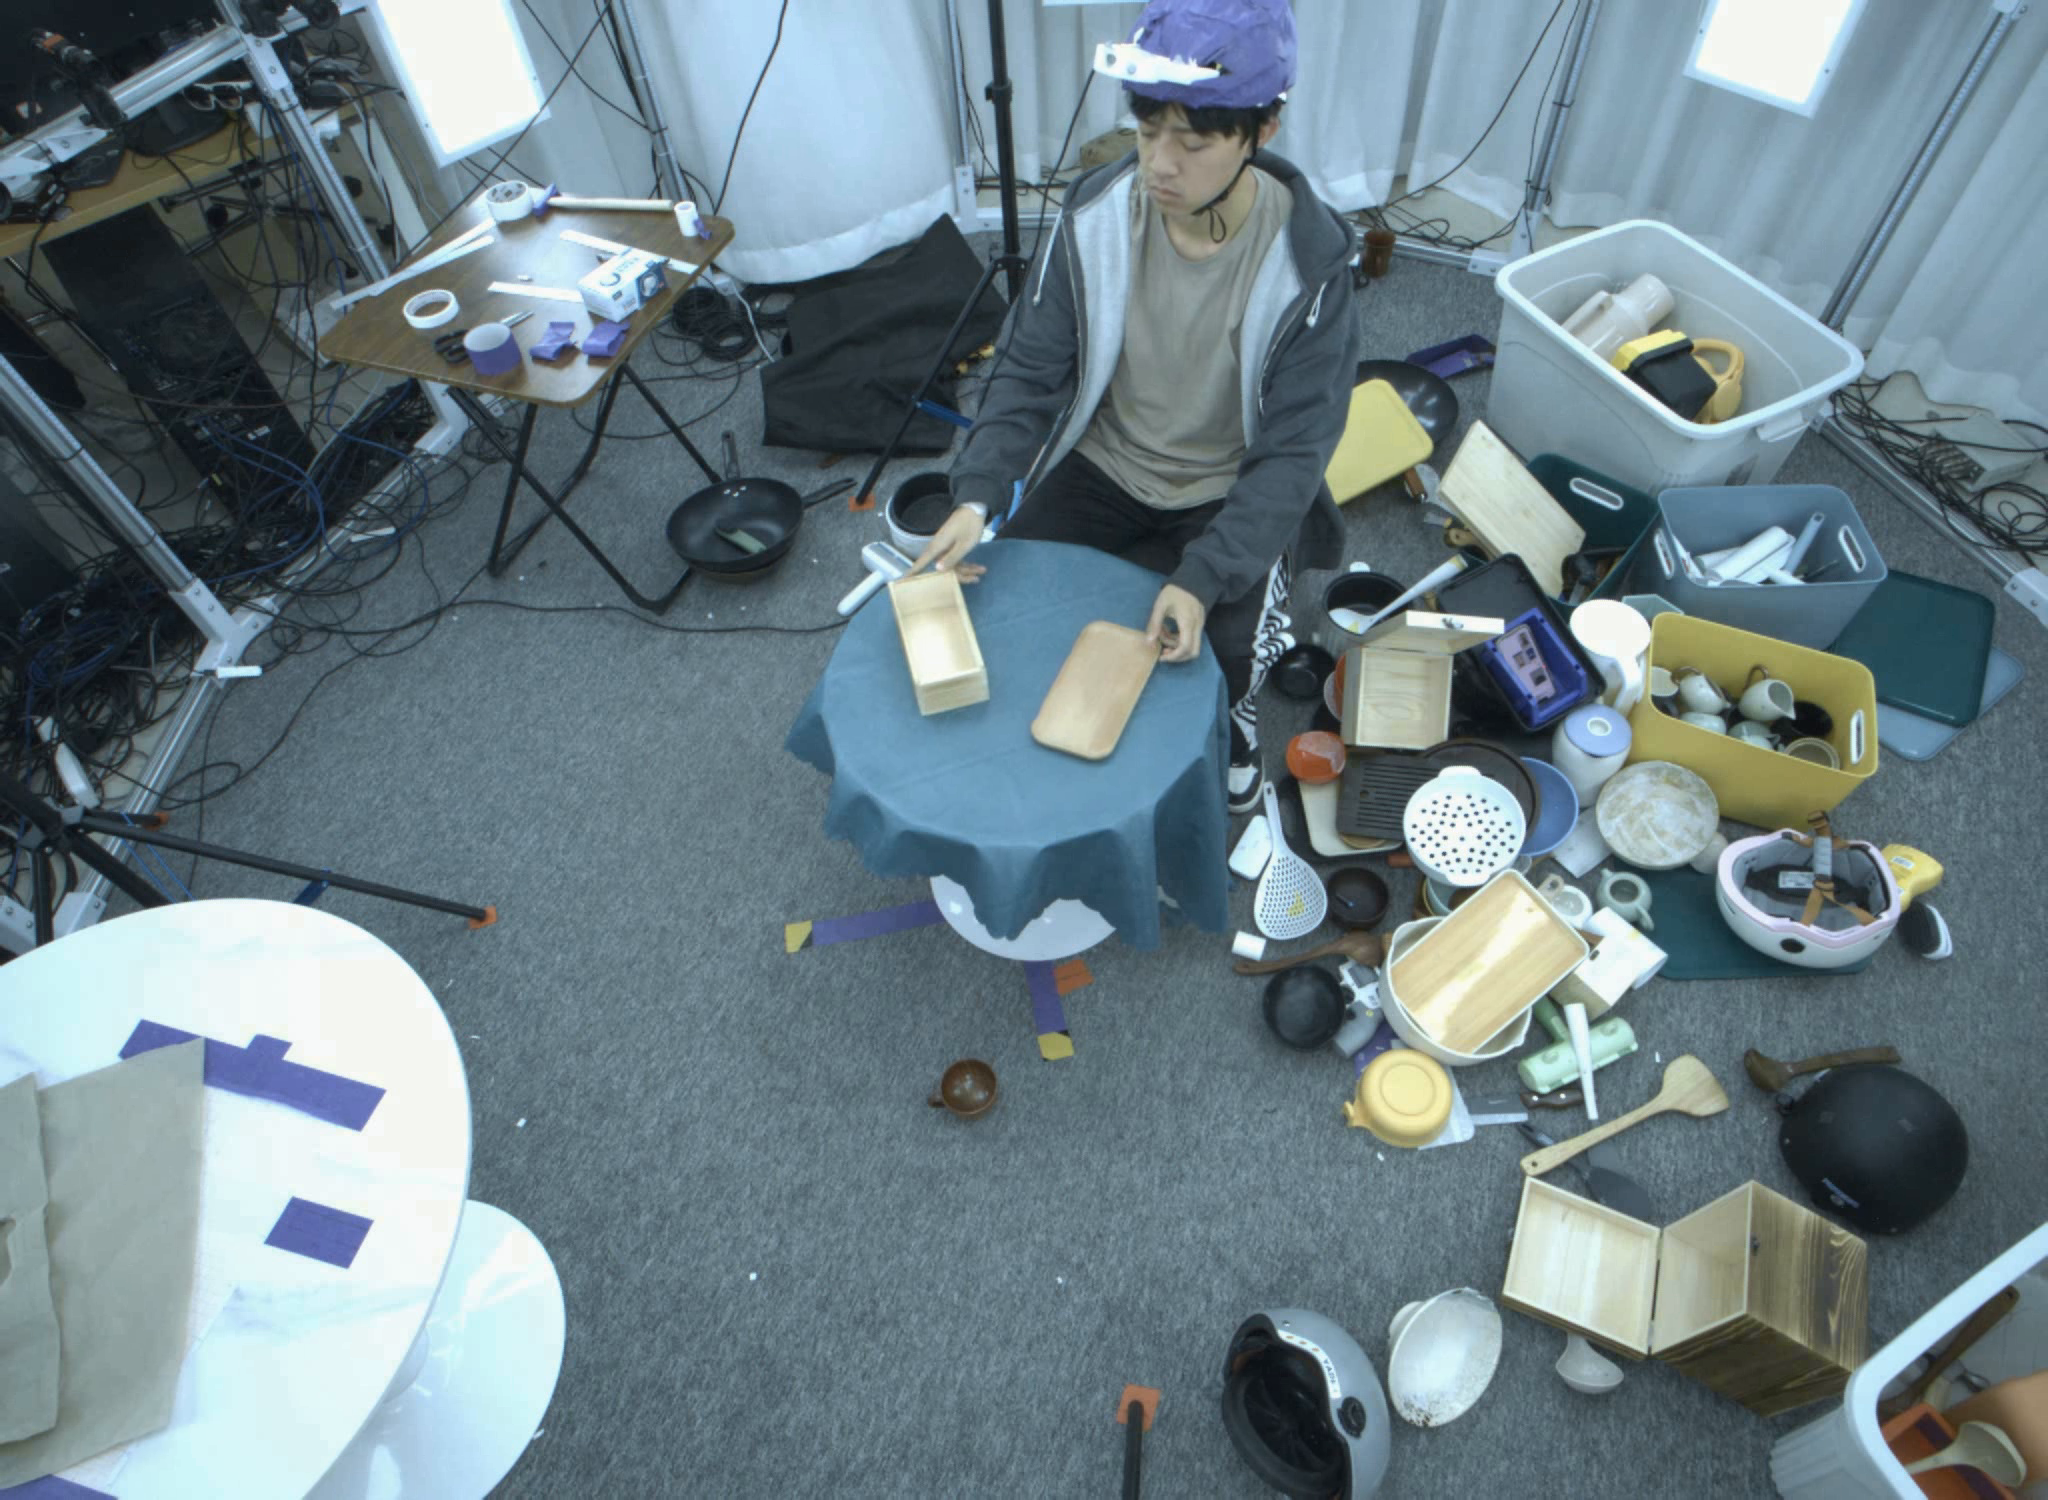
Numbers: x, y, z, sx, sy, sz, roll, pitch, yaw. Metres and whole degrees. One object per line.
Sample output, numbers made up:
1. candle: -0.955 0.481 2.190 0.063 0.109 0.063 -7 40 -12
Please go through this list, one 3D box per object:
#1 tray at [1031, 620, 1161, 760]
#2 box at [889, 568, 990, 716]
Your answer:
1. tray: 0.110 -0.092 1.841 0.129 0.023 0.251 21 57 13
2. box: -0.130 -0.167 1.864 0.108 0.081 0.208 -14 55 -7
